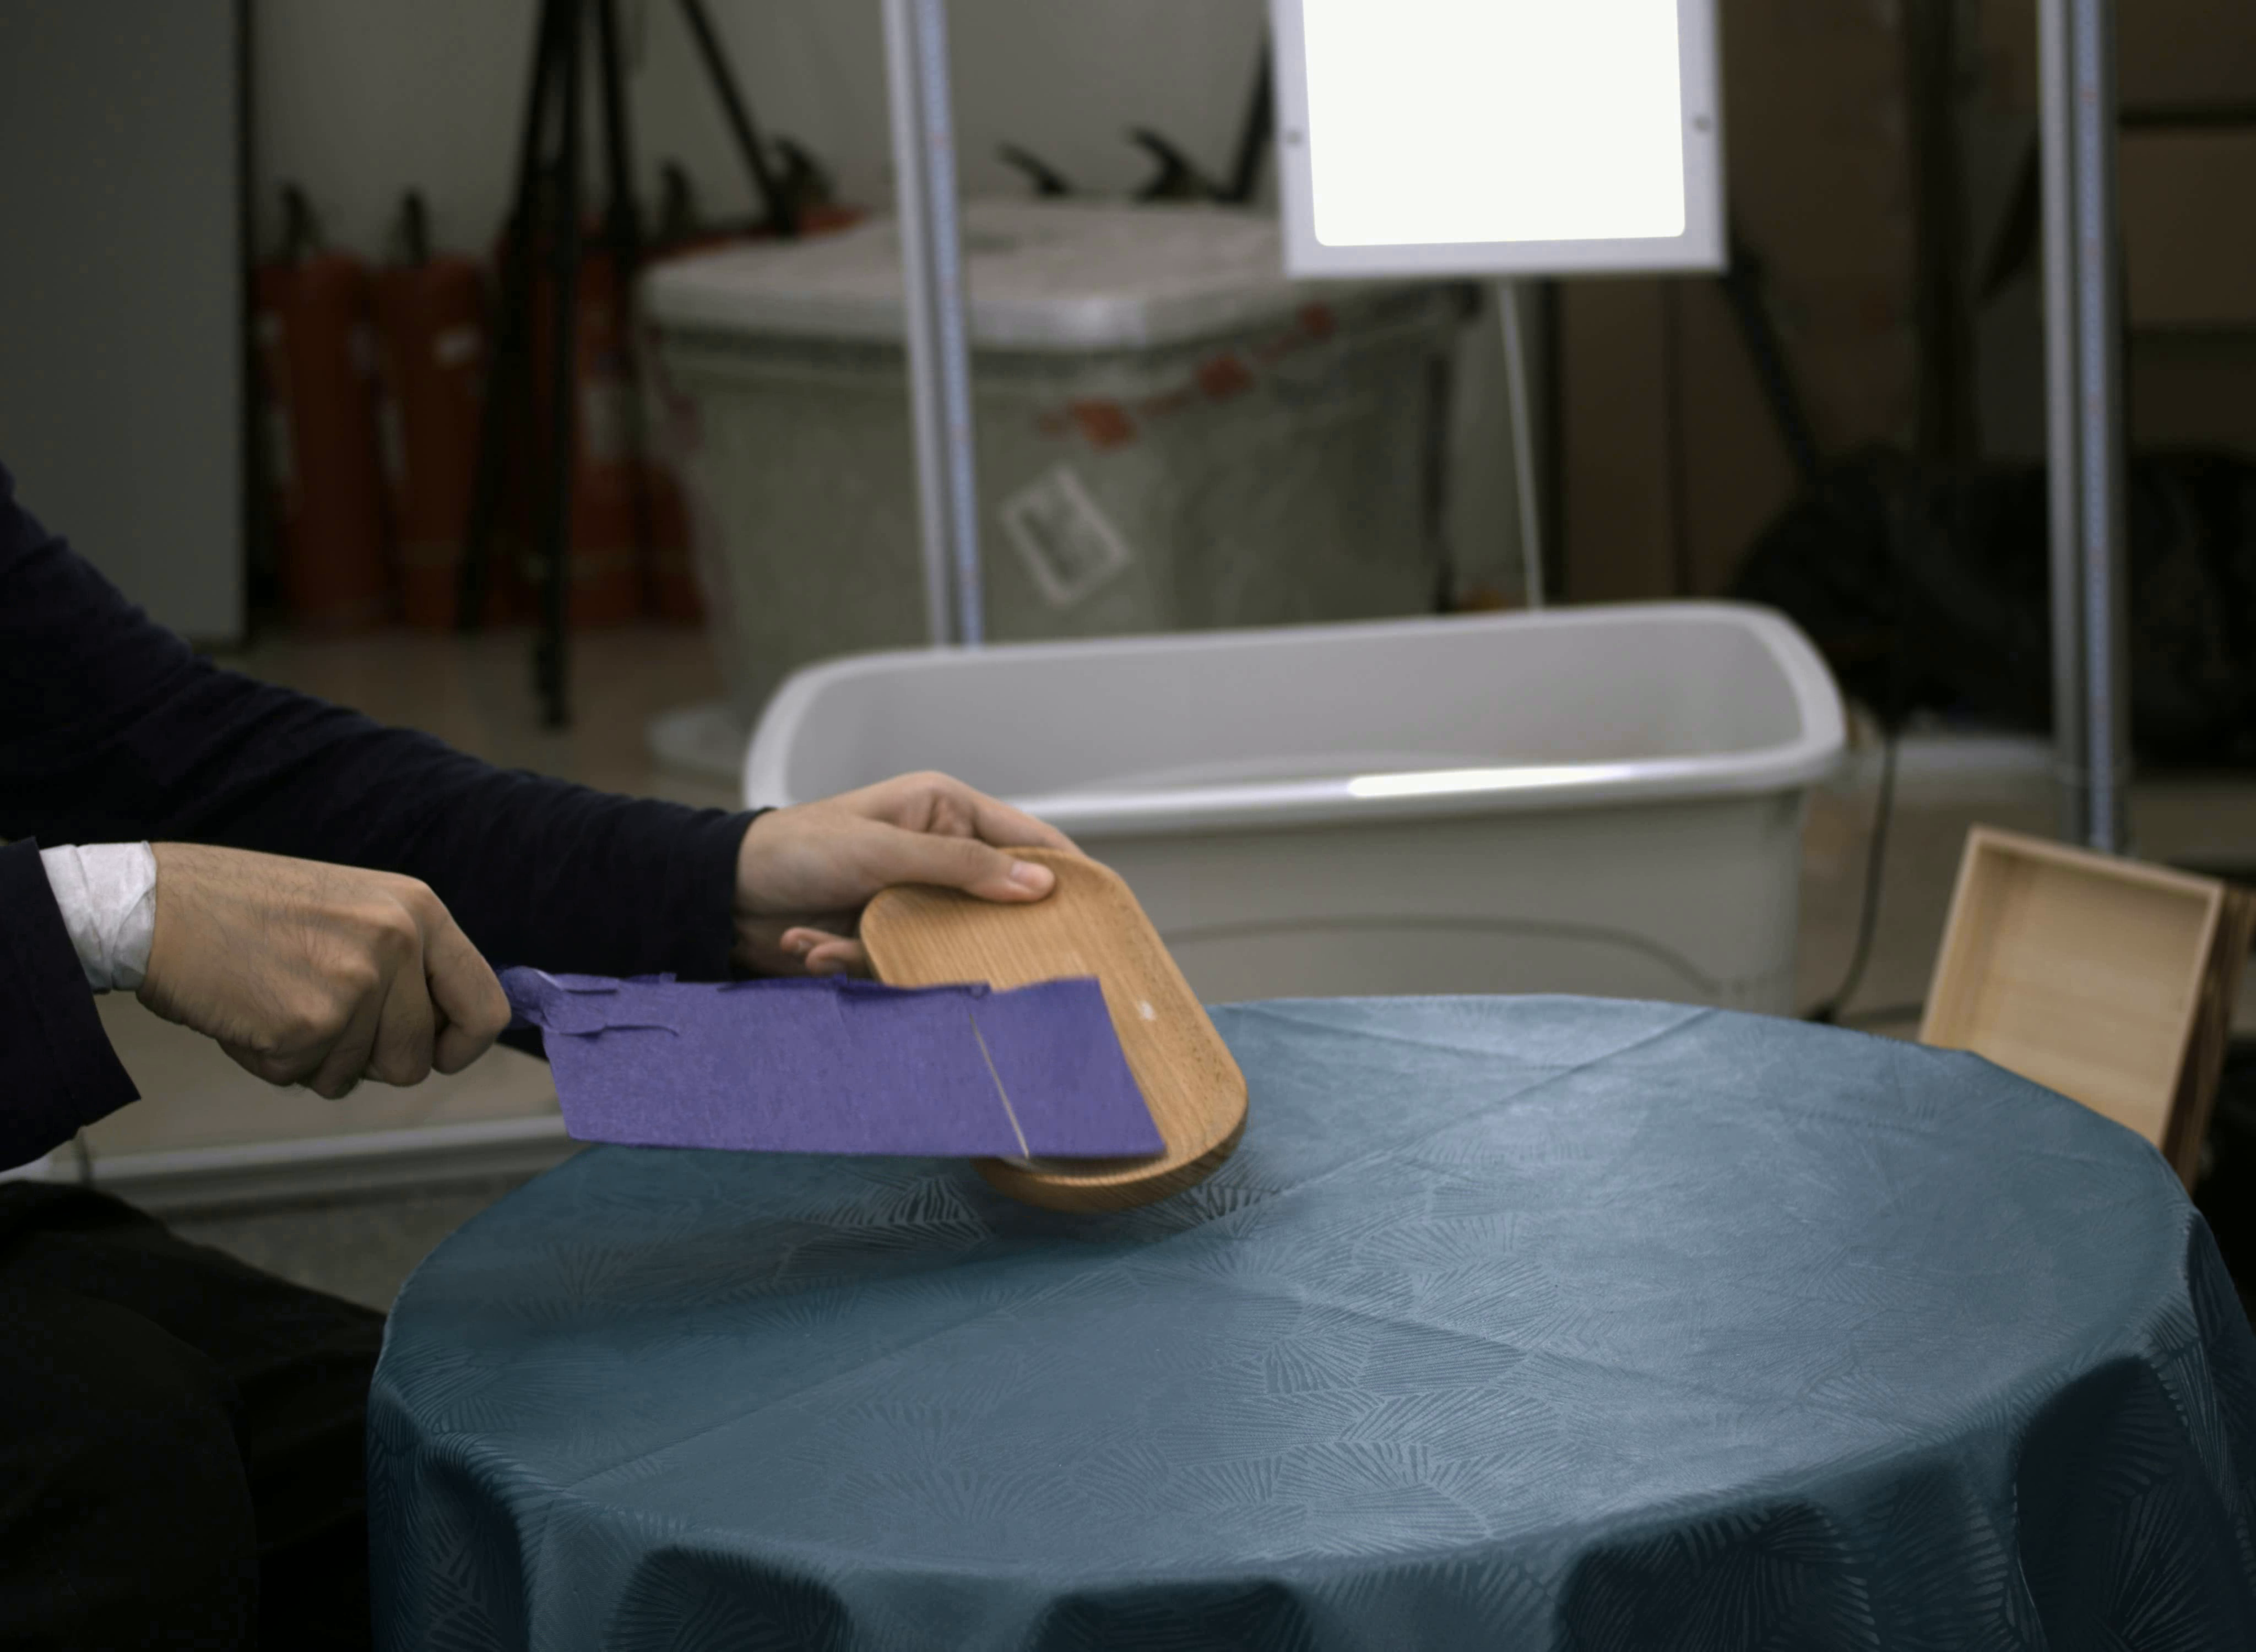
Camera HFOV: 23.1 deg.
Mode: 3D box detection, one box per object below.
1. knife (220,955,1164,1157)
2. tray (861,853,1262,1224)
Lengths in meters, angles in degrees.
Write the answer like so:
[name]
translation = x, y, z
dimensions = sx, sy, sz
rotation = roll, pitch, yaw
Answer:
[knife]
translation = -0.142, 0.076, 1.845
dimensions = 0.310, 0.032, 0.104
rotation = 0, 34, -16
[tray]
translation = -0.025, 0.072, 1.934
dimensions = 0.100, 0.020, 0.233
rotation = -16, 33, -12
